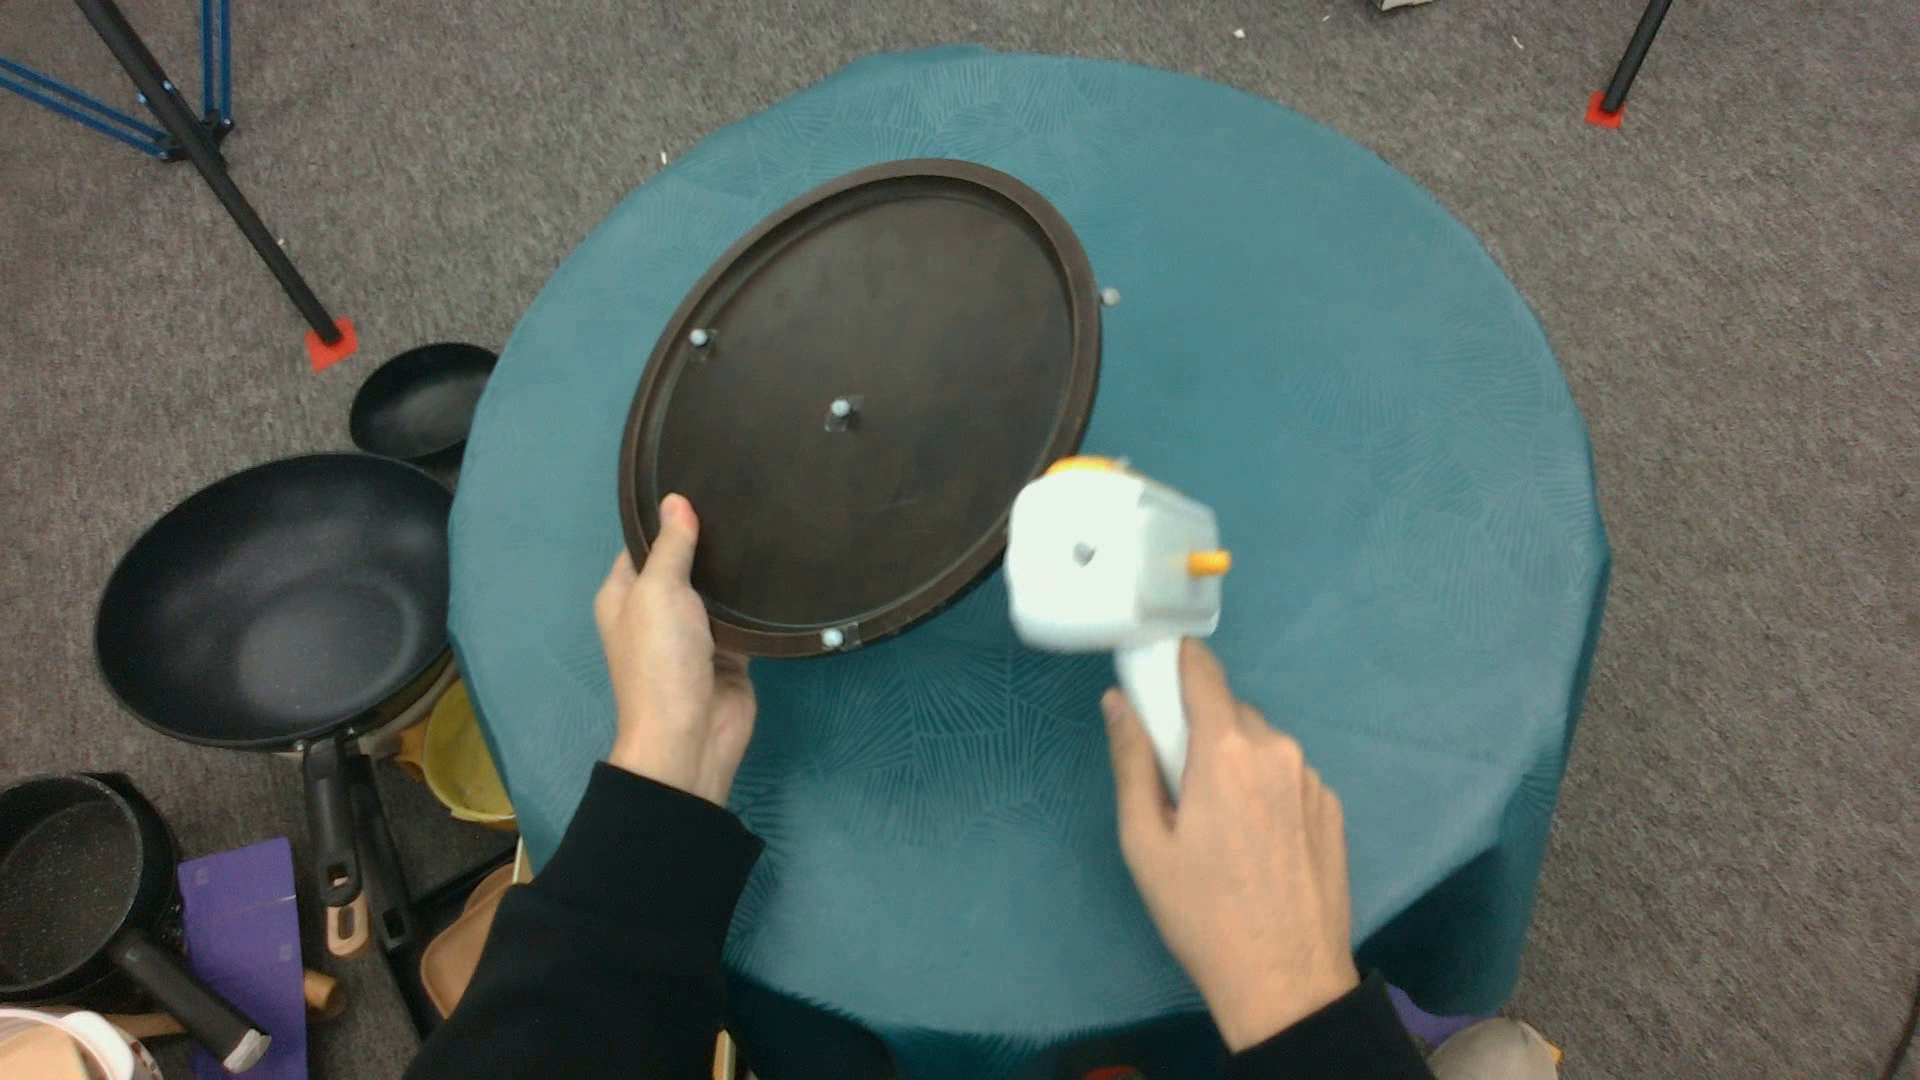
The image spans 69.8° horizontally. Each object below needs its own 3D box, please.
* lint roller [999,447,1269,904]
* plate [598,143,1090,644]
[{"bbox_3d":[0.081,0.057,0.572,0.074,0.193,0.192,-11,87,15],"label":"lint roller"},{"bbox_3d":[-0.058,-0.071,0.630,0.254,0.029,0.255,-10,65,23],"label":"plate"}]
